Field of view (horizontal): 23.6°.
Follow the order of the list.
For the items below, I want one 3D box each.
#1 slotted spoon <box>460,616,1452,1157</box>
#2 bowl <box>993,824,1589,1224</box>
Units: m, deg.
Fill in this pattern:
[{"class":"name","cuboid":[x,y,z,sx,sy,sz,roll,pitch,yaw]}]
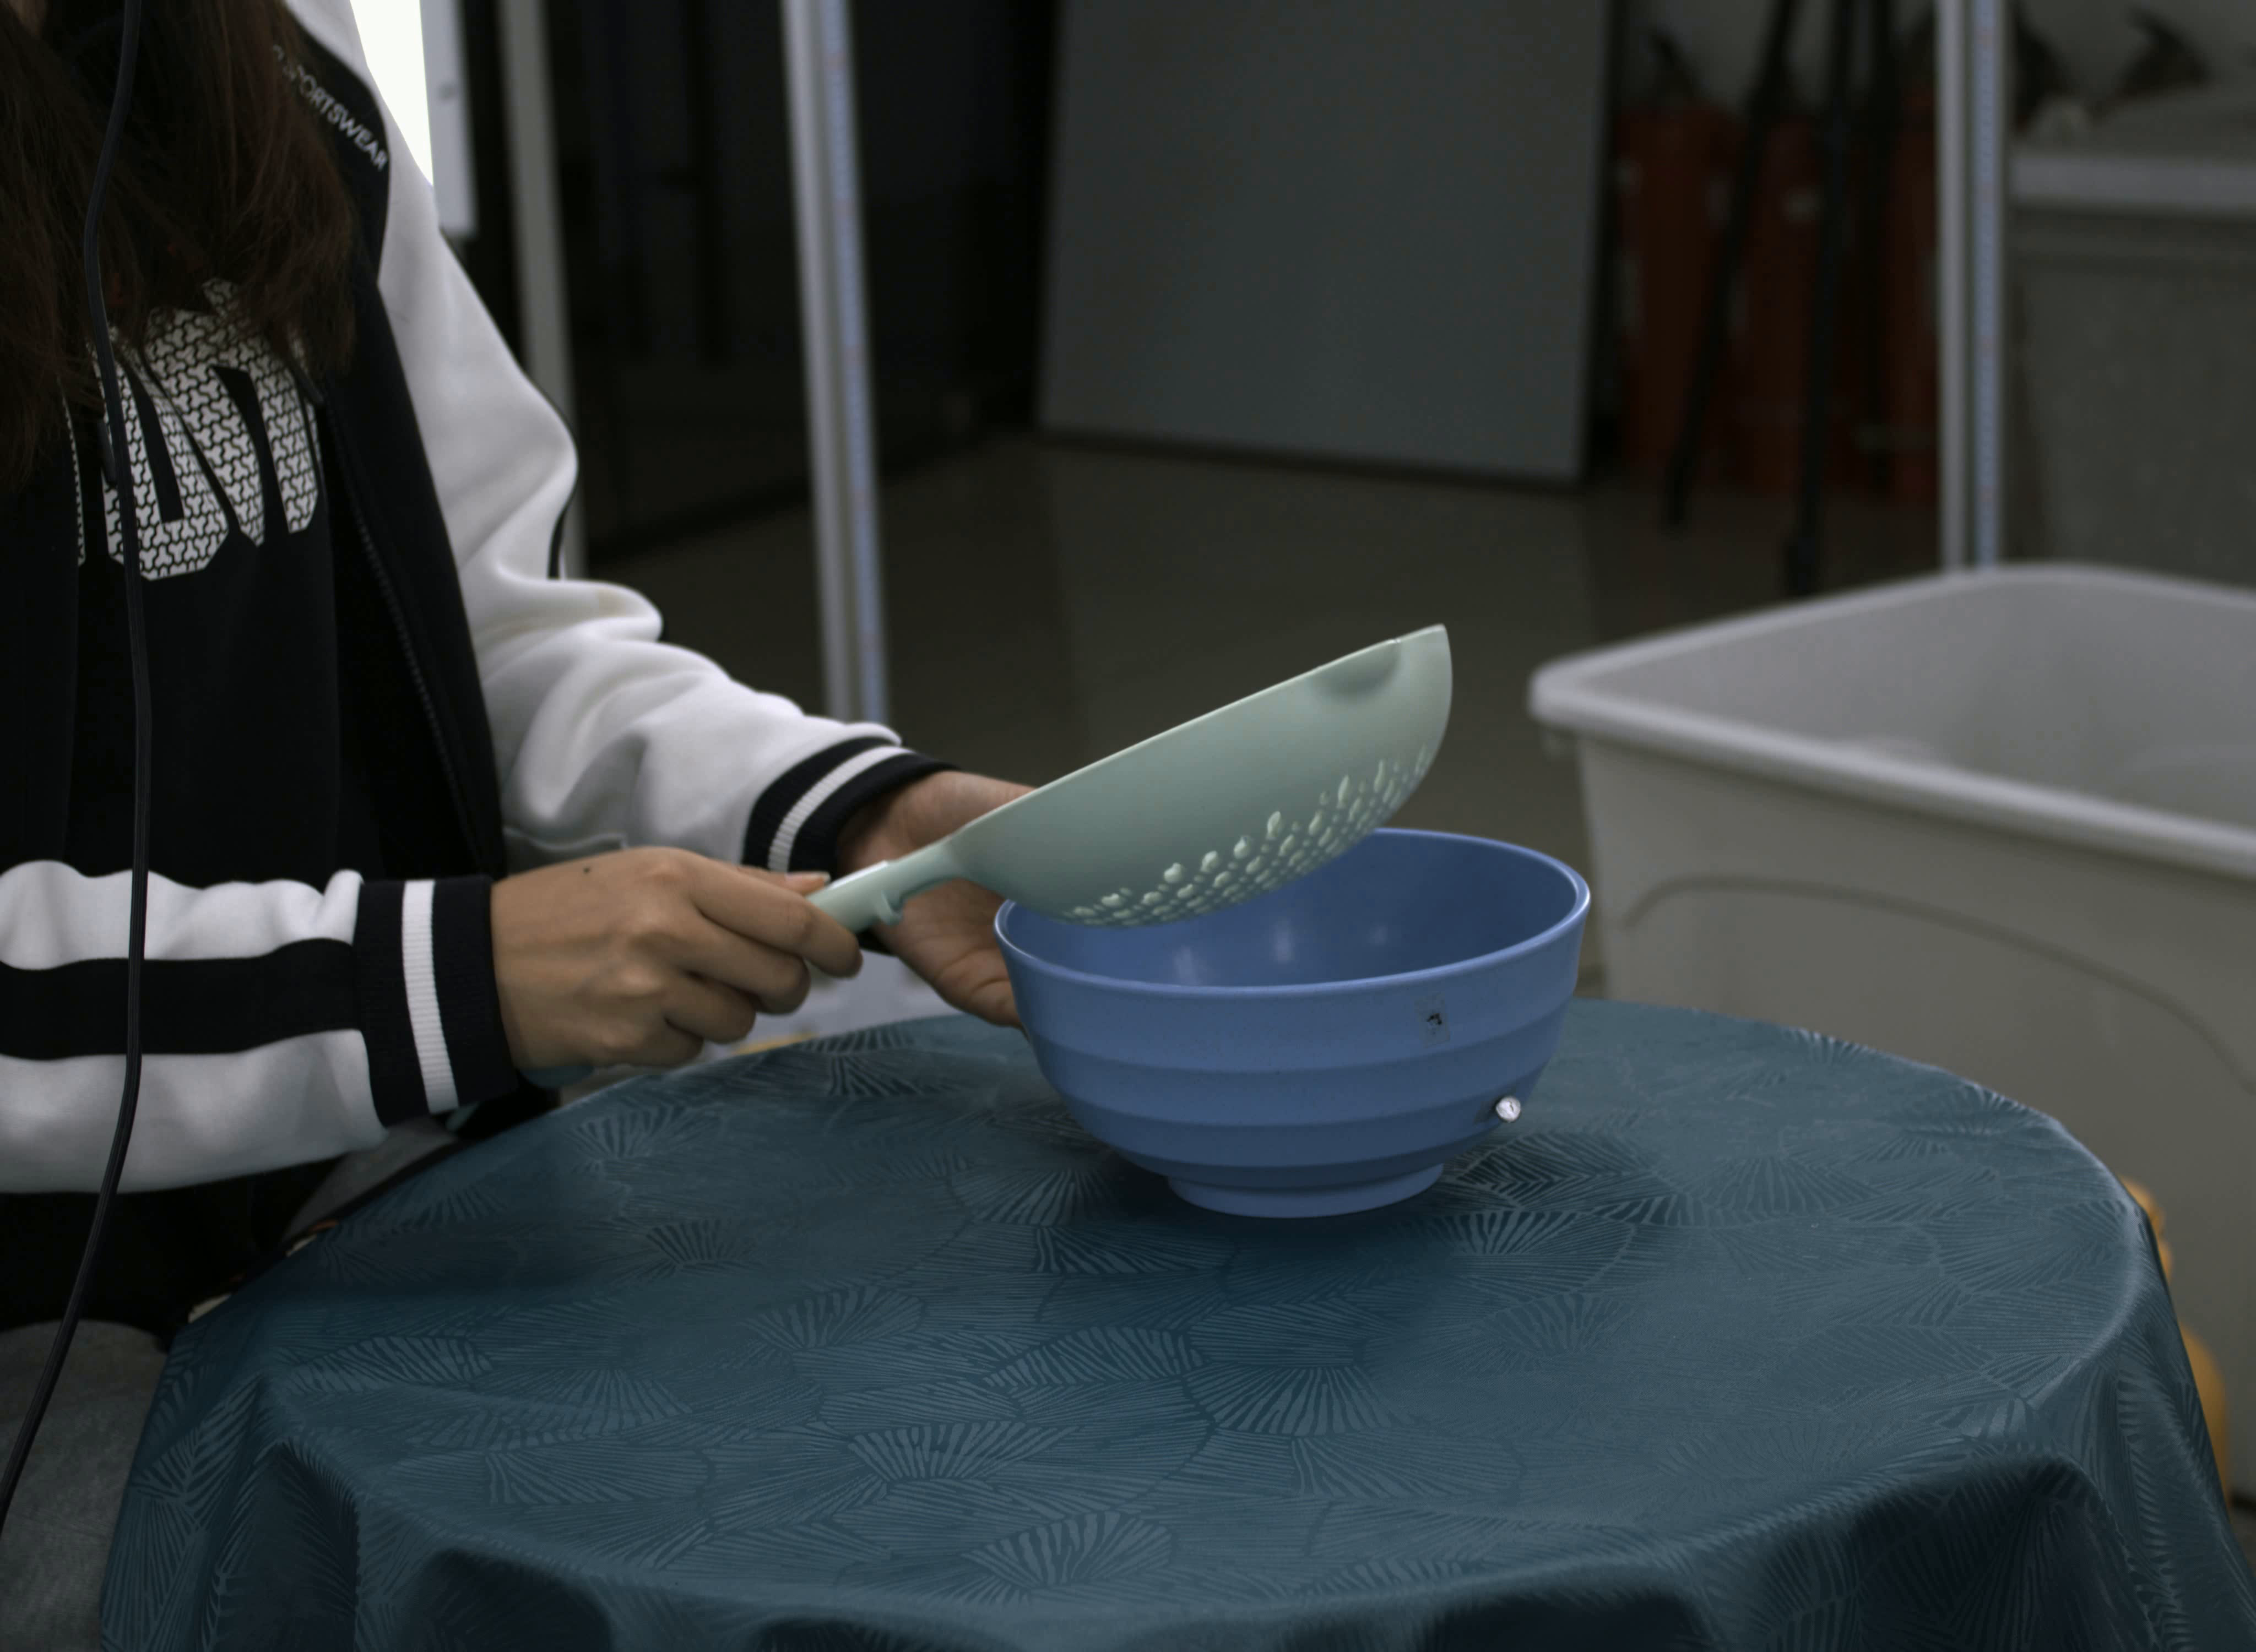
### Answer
[{"class":"slotted spoon","cuboid":[-0.058,0.021,1.730,0.357,0.076,0.168,-17,-3,10]},{"class":"bowl","cuboid":[0.056,0.070,1.762,0.194,0.096,0.197,-5,14,0]}]
